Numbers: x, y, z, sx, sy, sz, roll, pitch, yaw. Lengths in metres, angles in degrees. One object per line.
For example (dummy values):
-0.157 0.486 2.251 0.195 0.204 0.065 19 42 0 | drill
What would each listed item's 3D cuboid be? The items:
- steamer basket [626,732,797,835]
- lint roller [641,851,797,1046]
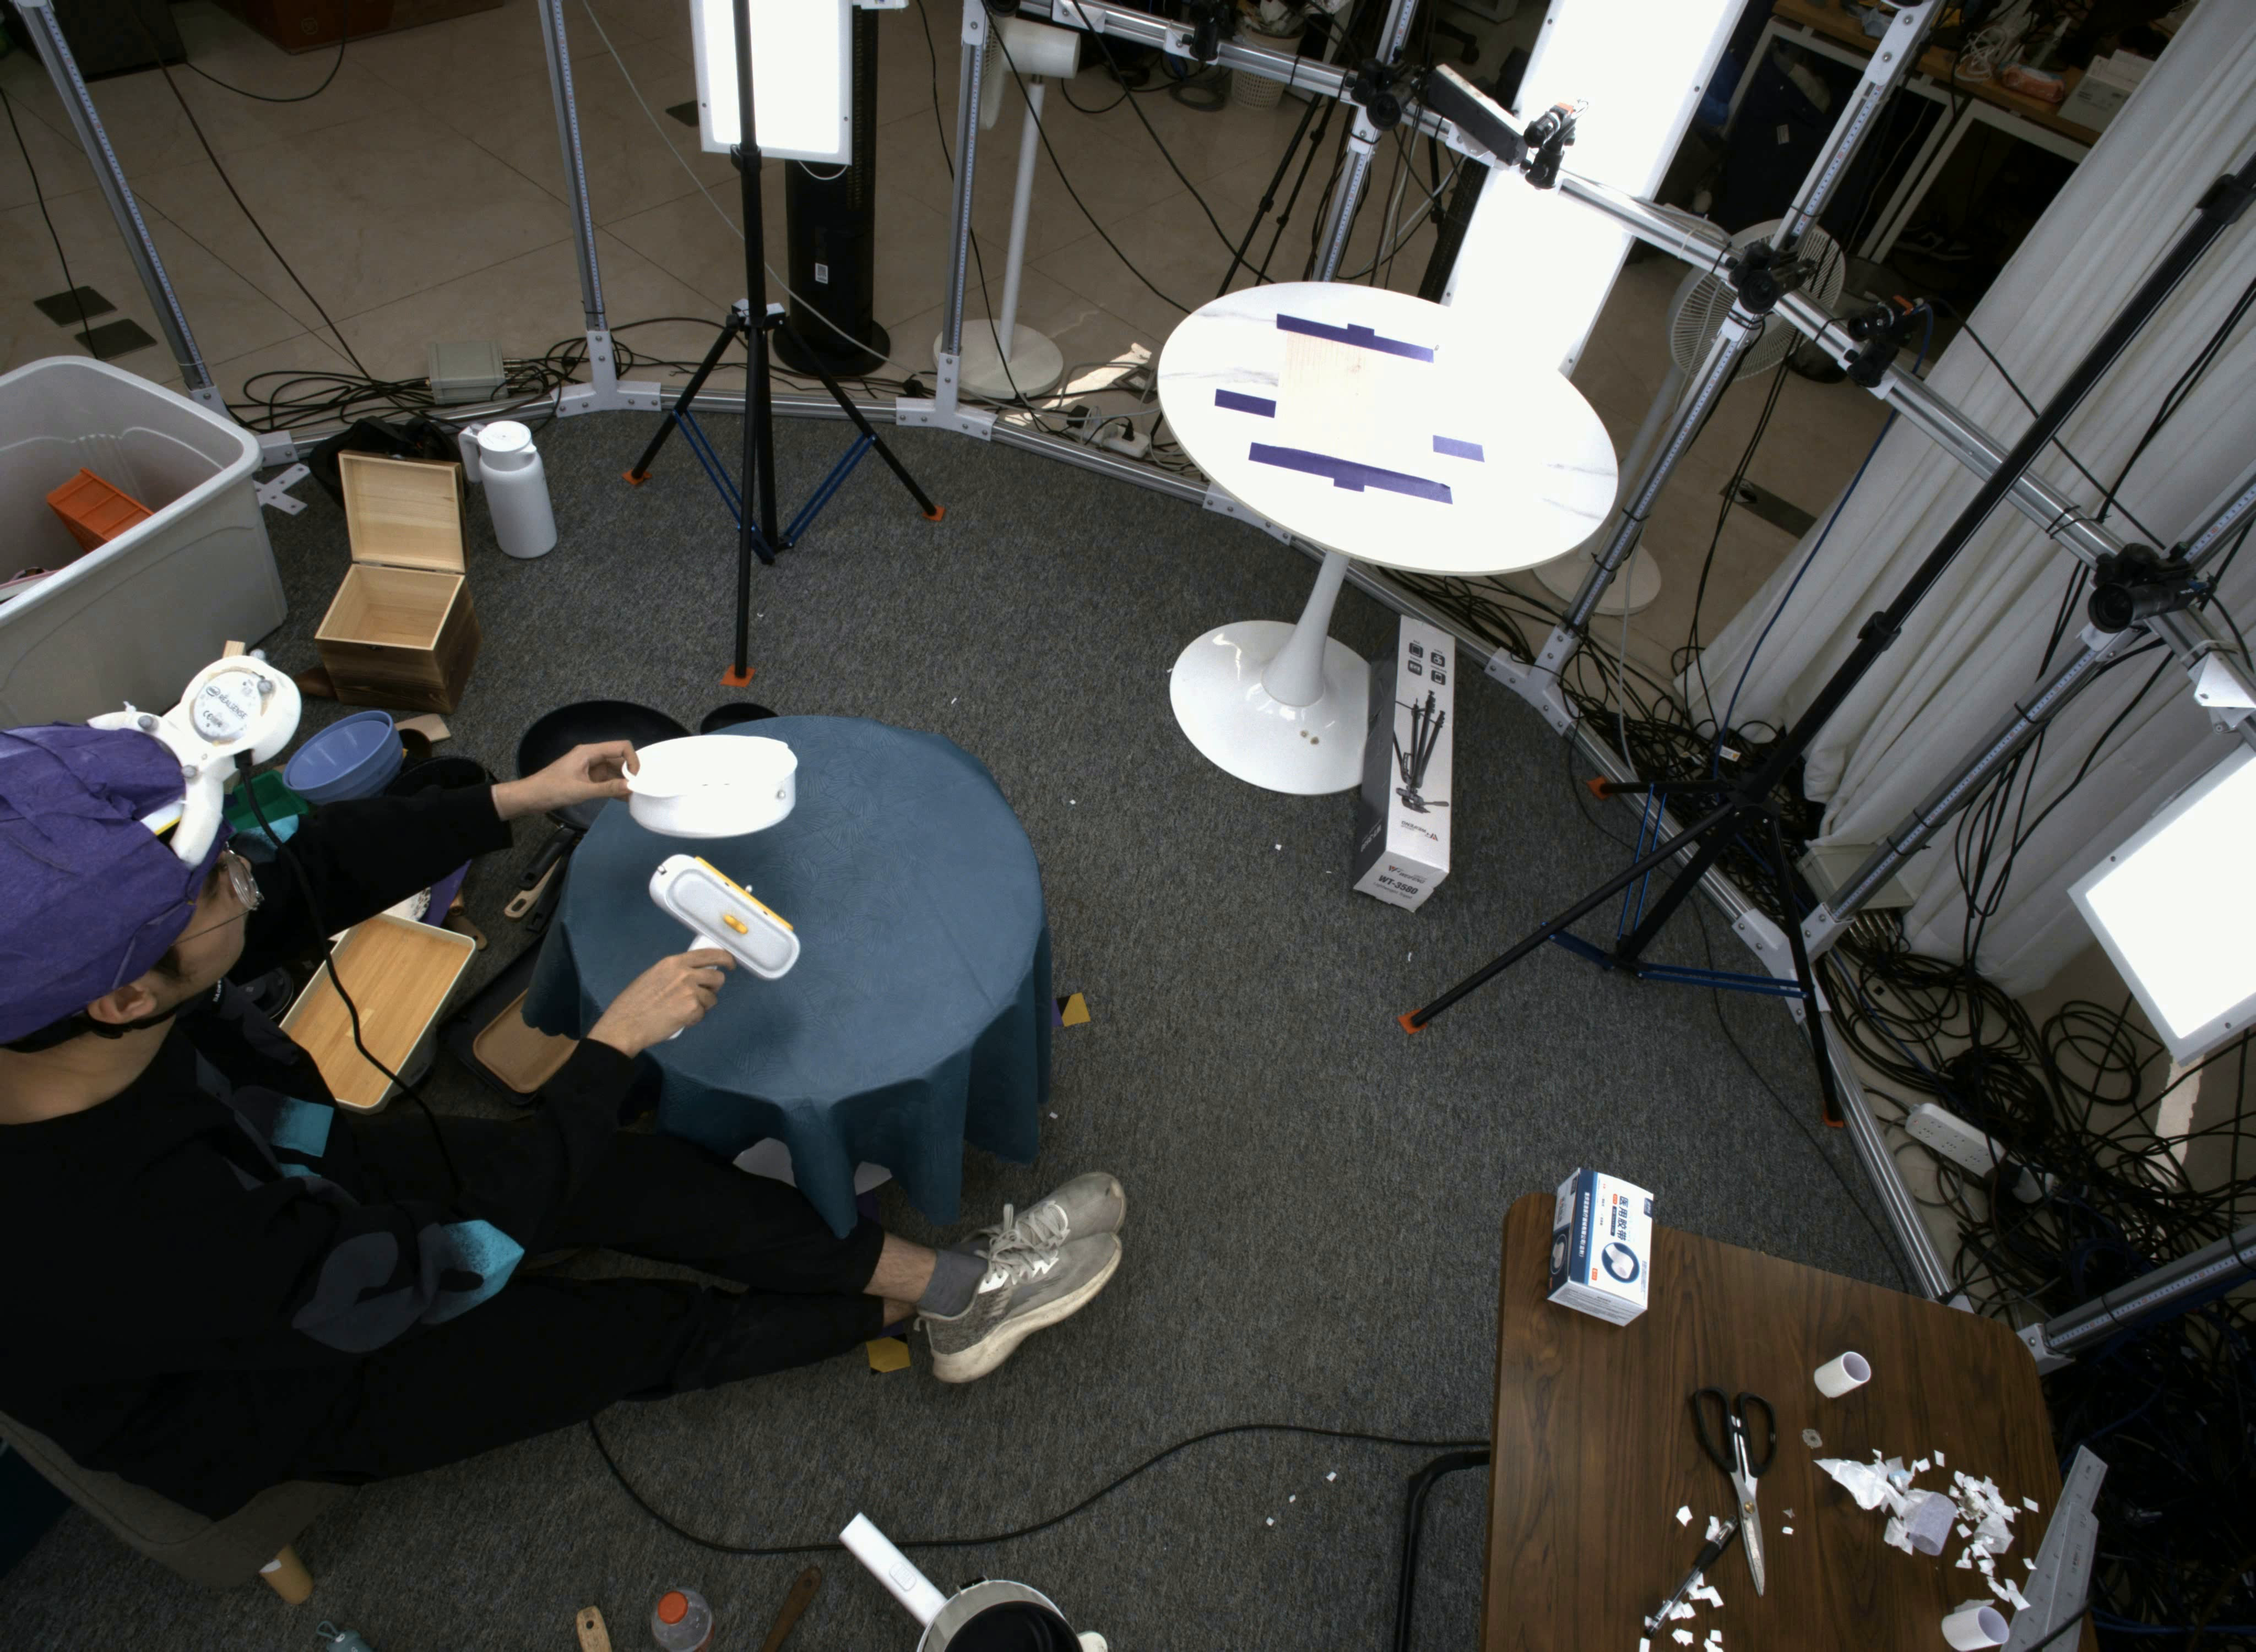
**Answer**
-0.497 -0.052 1.545 0.196 0.071 0.231 11 24 22 | steamer basket
-0.479 0.150 1.438 0.200 0.072 0.192 42 65 -37 | lint roller
